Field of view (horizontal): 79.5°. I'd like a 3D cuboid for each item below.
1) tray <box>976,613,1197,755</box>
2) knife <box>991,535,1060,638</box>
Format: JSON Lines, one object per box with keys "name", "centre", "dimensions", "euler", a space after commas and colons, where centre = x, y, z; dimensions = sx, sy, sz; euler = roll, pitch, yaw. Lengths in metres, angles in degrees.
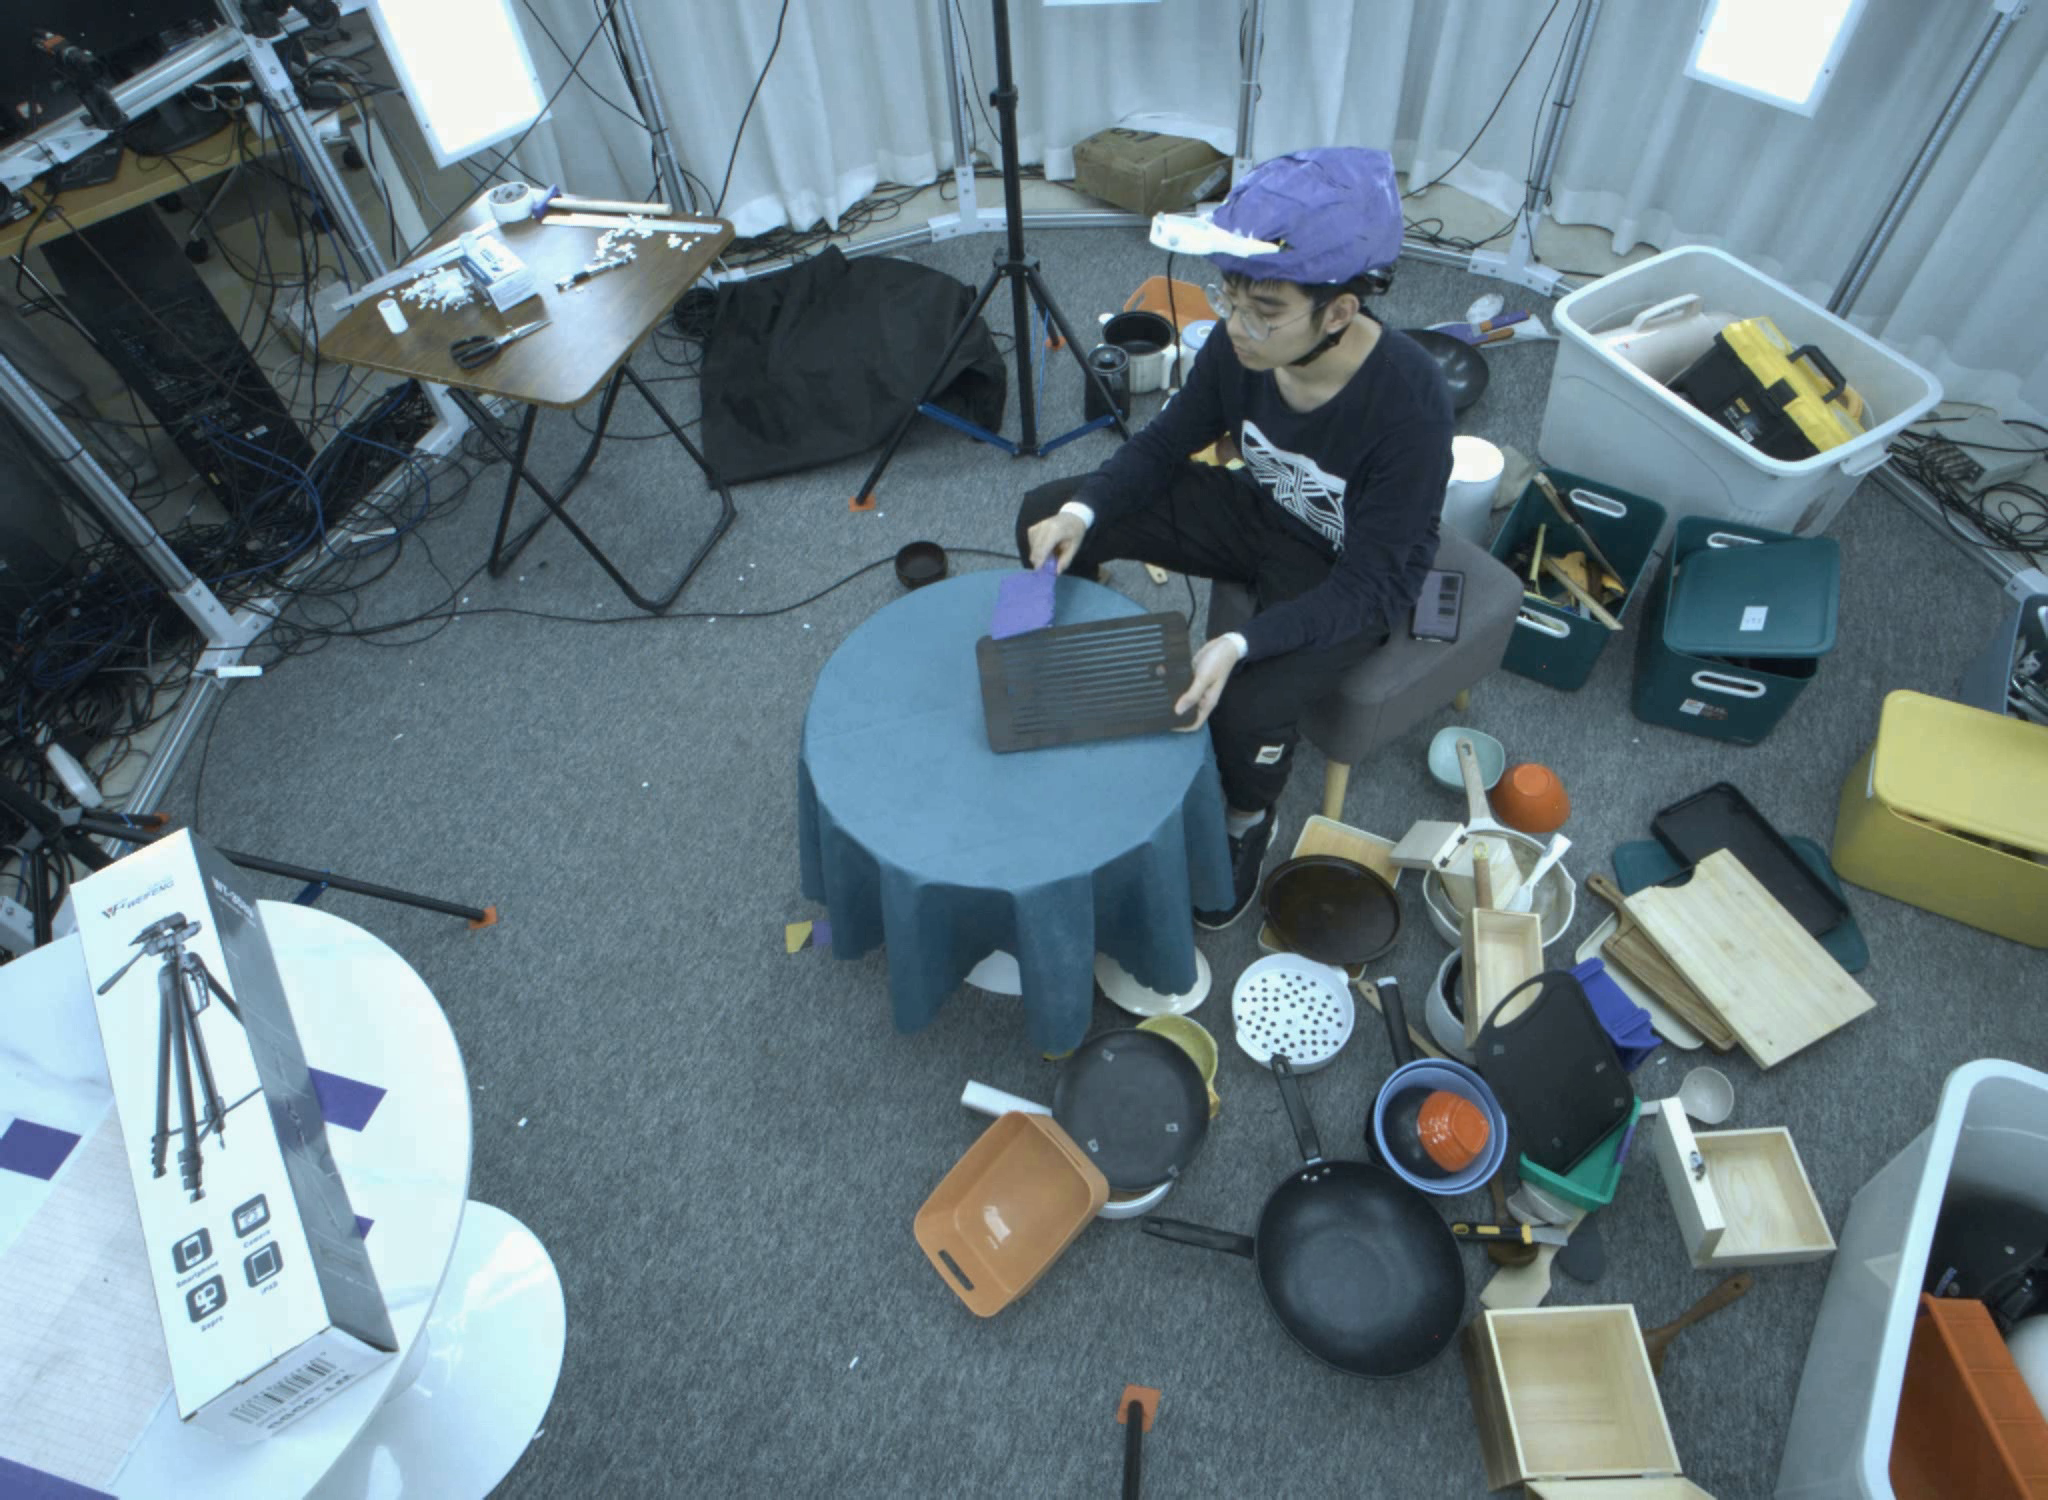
{"name": "tray", "centre": [0.091, -0.096, 1.782], "dimensions": [0.306, 0.171, 0.018], "euler": [-8, 11, -1]}
{"name": "knife", "centre": [0.004, -0.250, 1.847], "dimensions": [0.103, 0.032, 0.313], "euler": [-12, 28, 10]}
